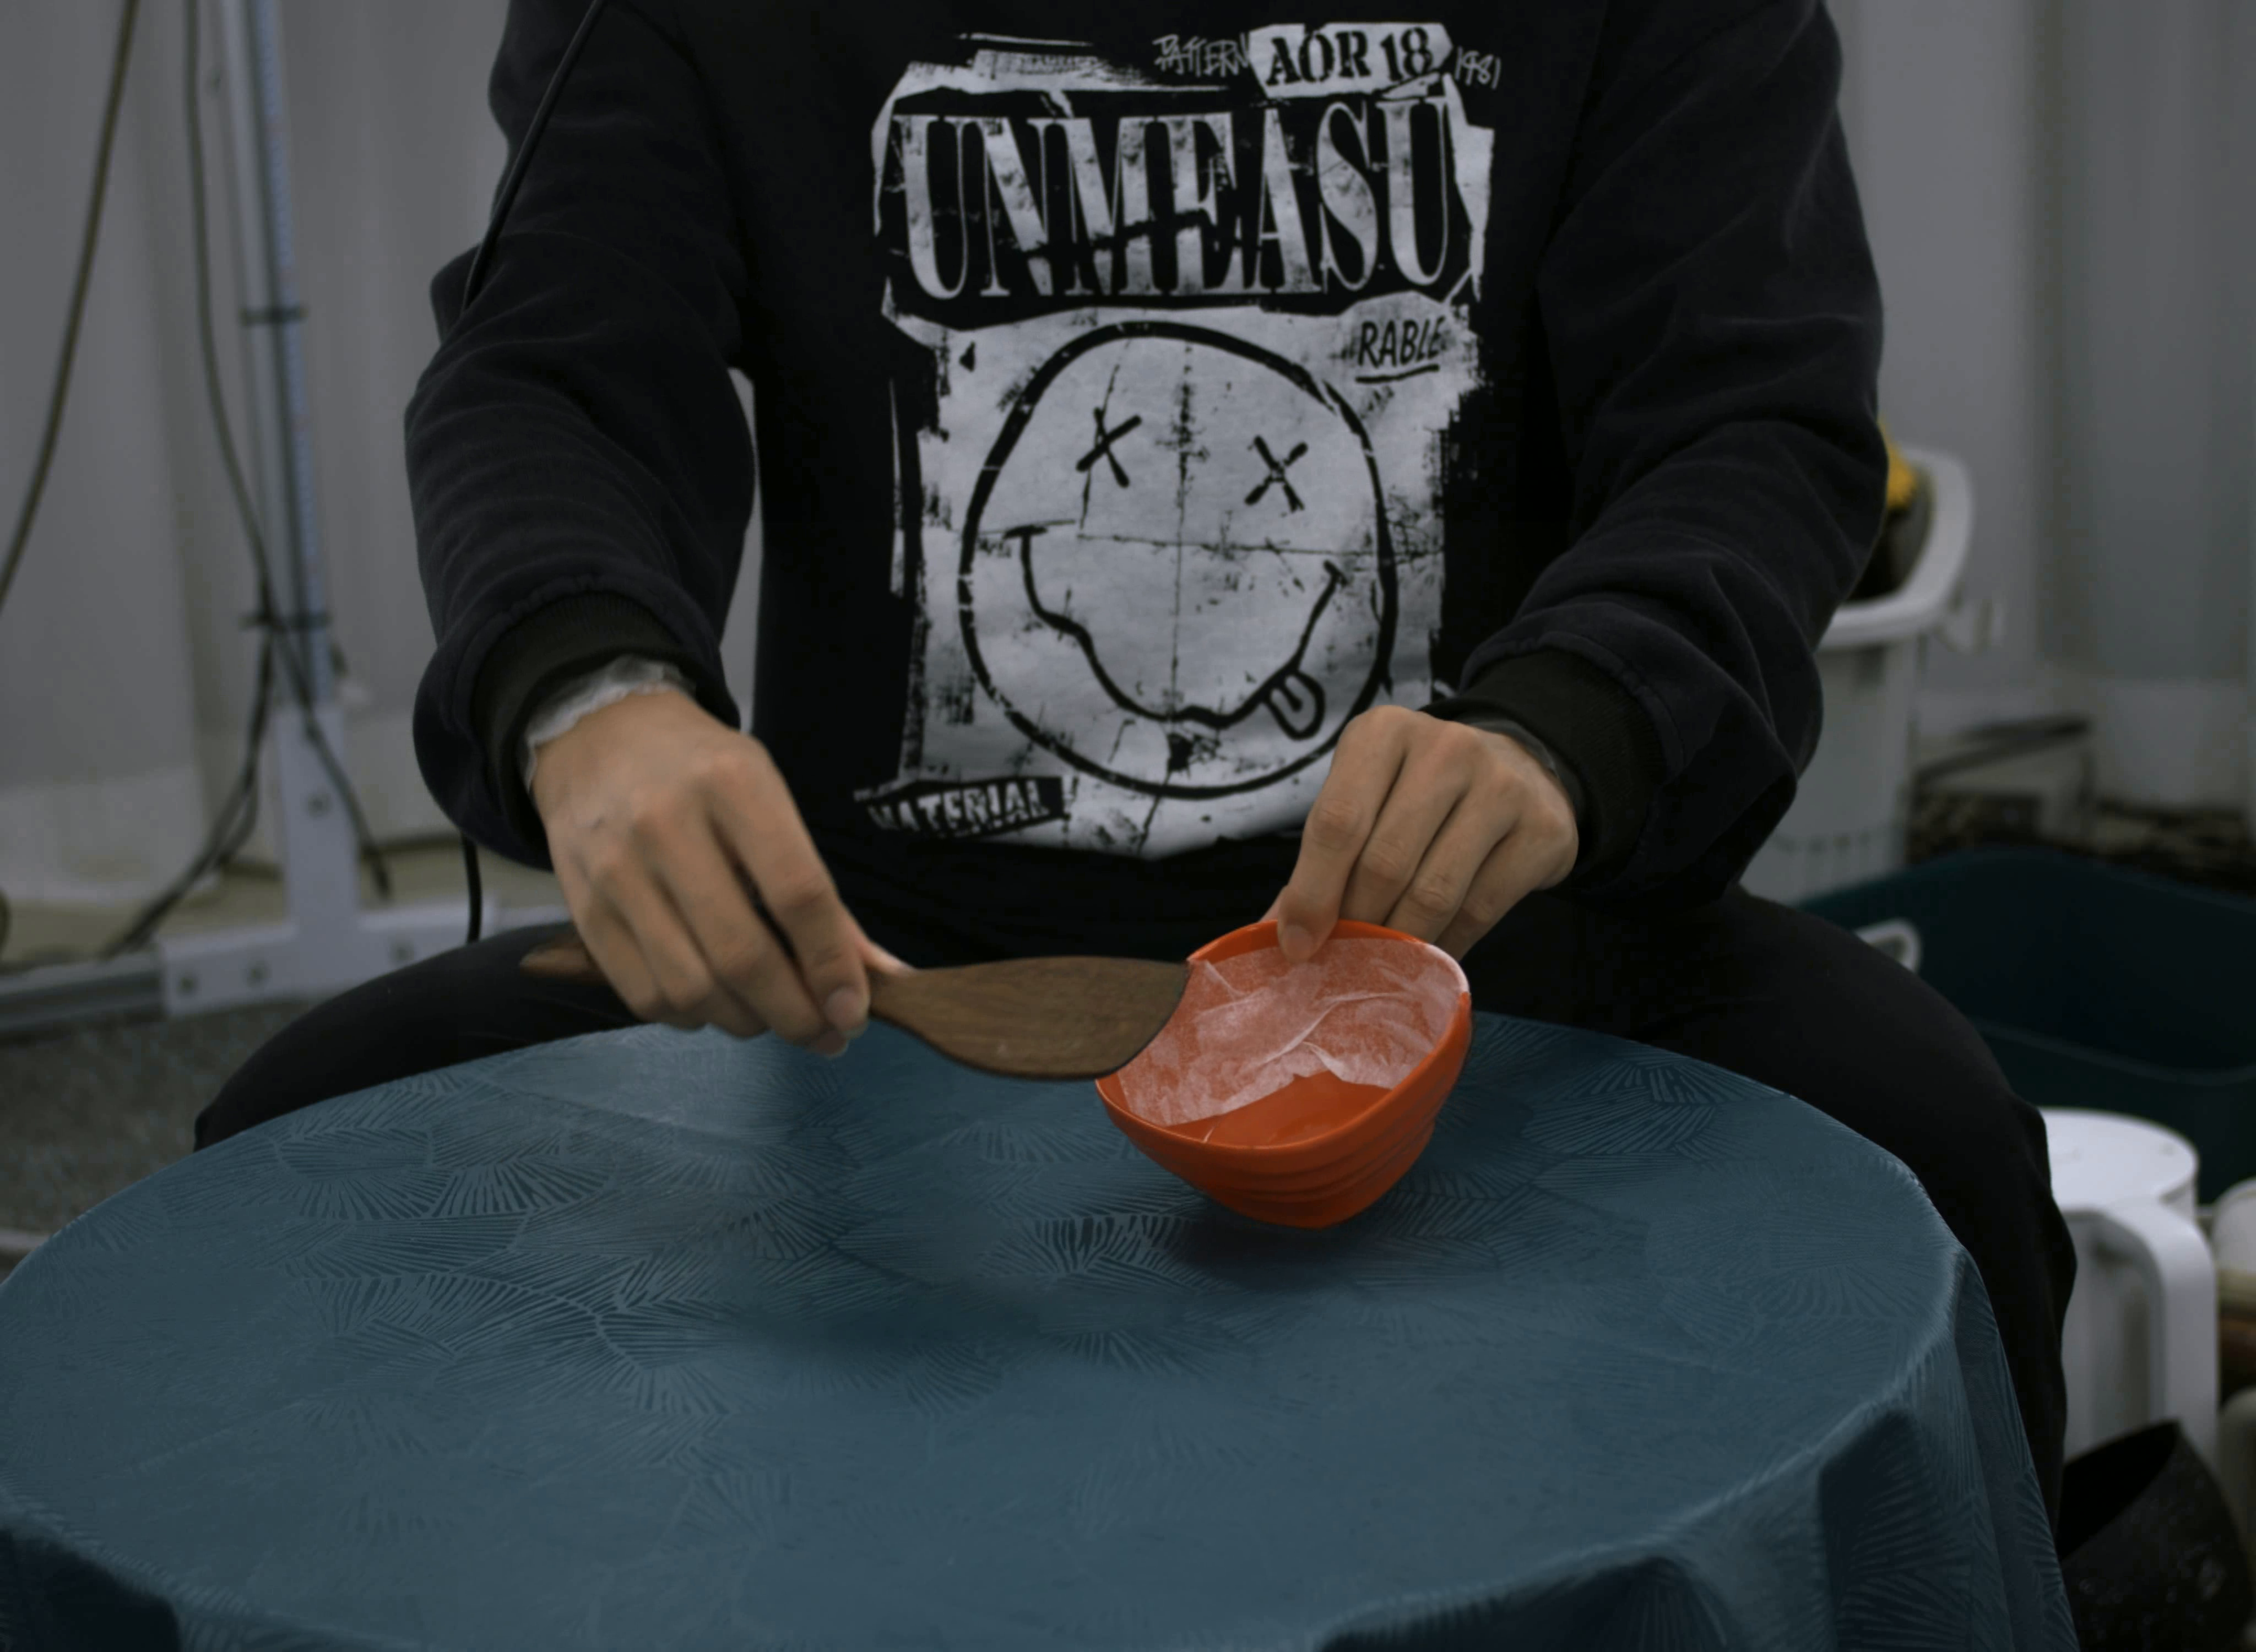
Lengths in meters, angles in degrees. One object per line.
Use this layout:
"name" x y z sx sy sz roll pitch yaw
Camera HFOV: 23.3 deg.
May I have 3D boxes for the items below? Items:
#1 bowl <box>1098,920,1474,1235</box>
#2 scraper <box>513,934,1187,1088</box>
"bowl" 0.053 0.083 1.685 0.118 0.051 0.120 -13 34 8
"scraper" -0.087 0.051 1.642 0.211 0.011 0.076 6 28 21
